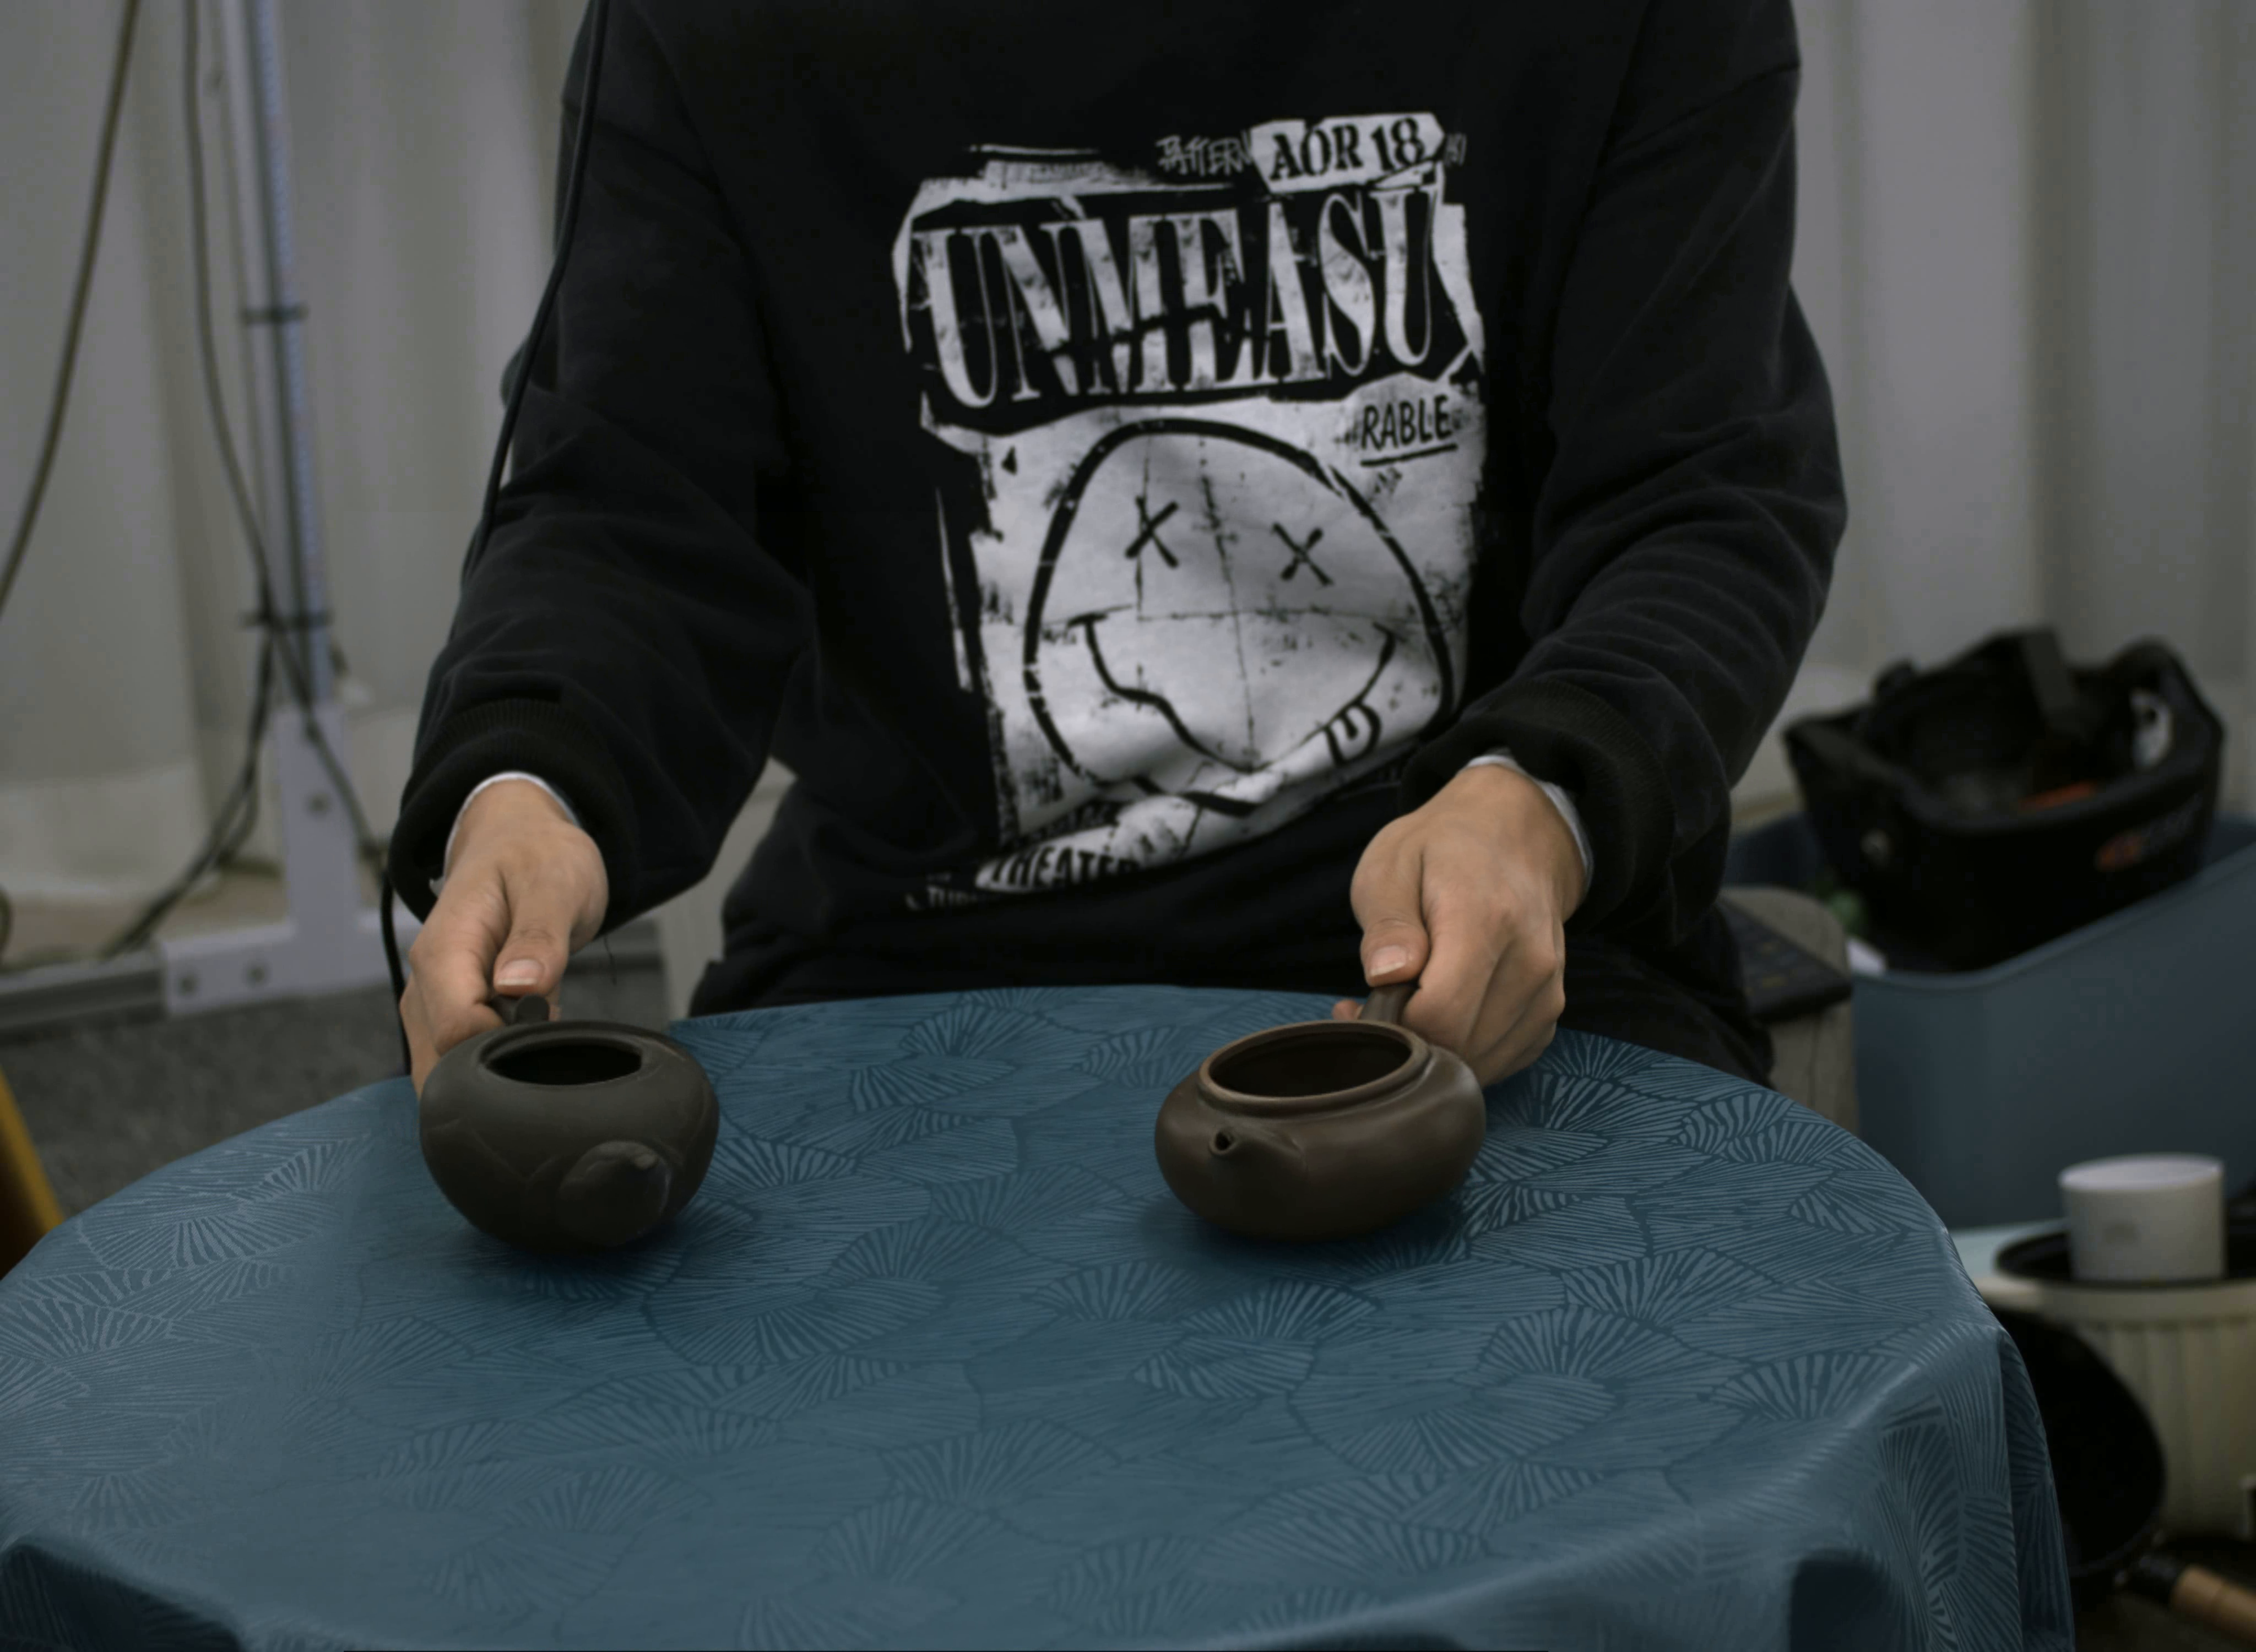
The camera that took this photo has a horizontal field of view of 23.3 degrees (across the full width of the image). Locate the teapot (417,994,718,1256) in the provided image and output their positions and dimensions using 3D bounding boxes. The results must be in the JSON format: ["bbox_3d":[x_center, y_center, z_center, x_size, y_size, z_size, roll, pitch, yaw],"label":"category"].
[{"bbox_3d":[-0.174,0.094,1.695,0.092,0.064,0.156,-4,20,-22],"label":"teapot"}]

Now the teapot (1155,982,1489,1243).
[{"bbox_3d":[0.060,0.090,1.679,0.102,0.053,0.154,1,20,19],"label":"teapot"}]
